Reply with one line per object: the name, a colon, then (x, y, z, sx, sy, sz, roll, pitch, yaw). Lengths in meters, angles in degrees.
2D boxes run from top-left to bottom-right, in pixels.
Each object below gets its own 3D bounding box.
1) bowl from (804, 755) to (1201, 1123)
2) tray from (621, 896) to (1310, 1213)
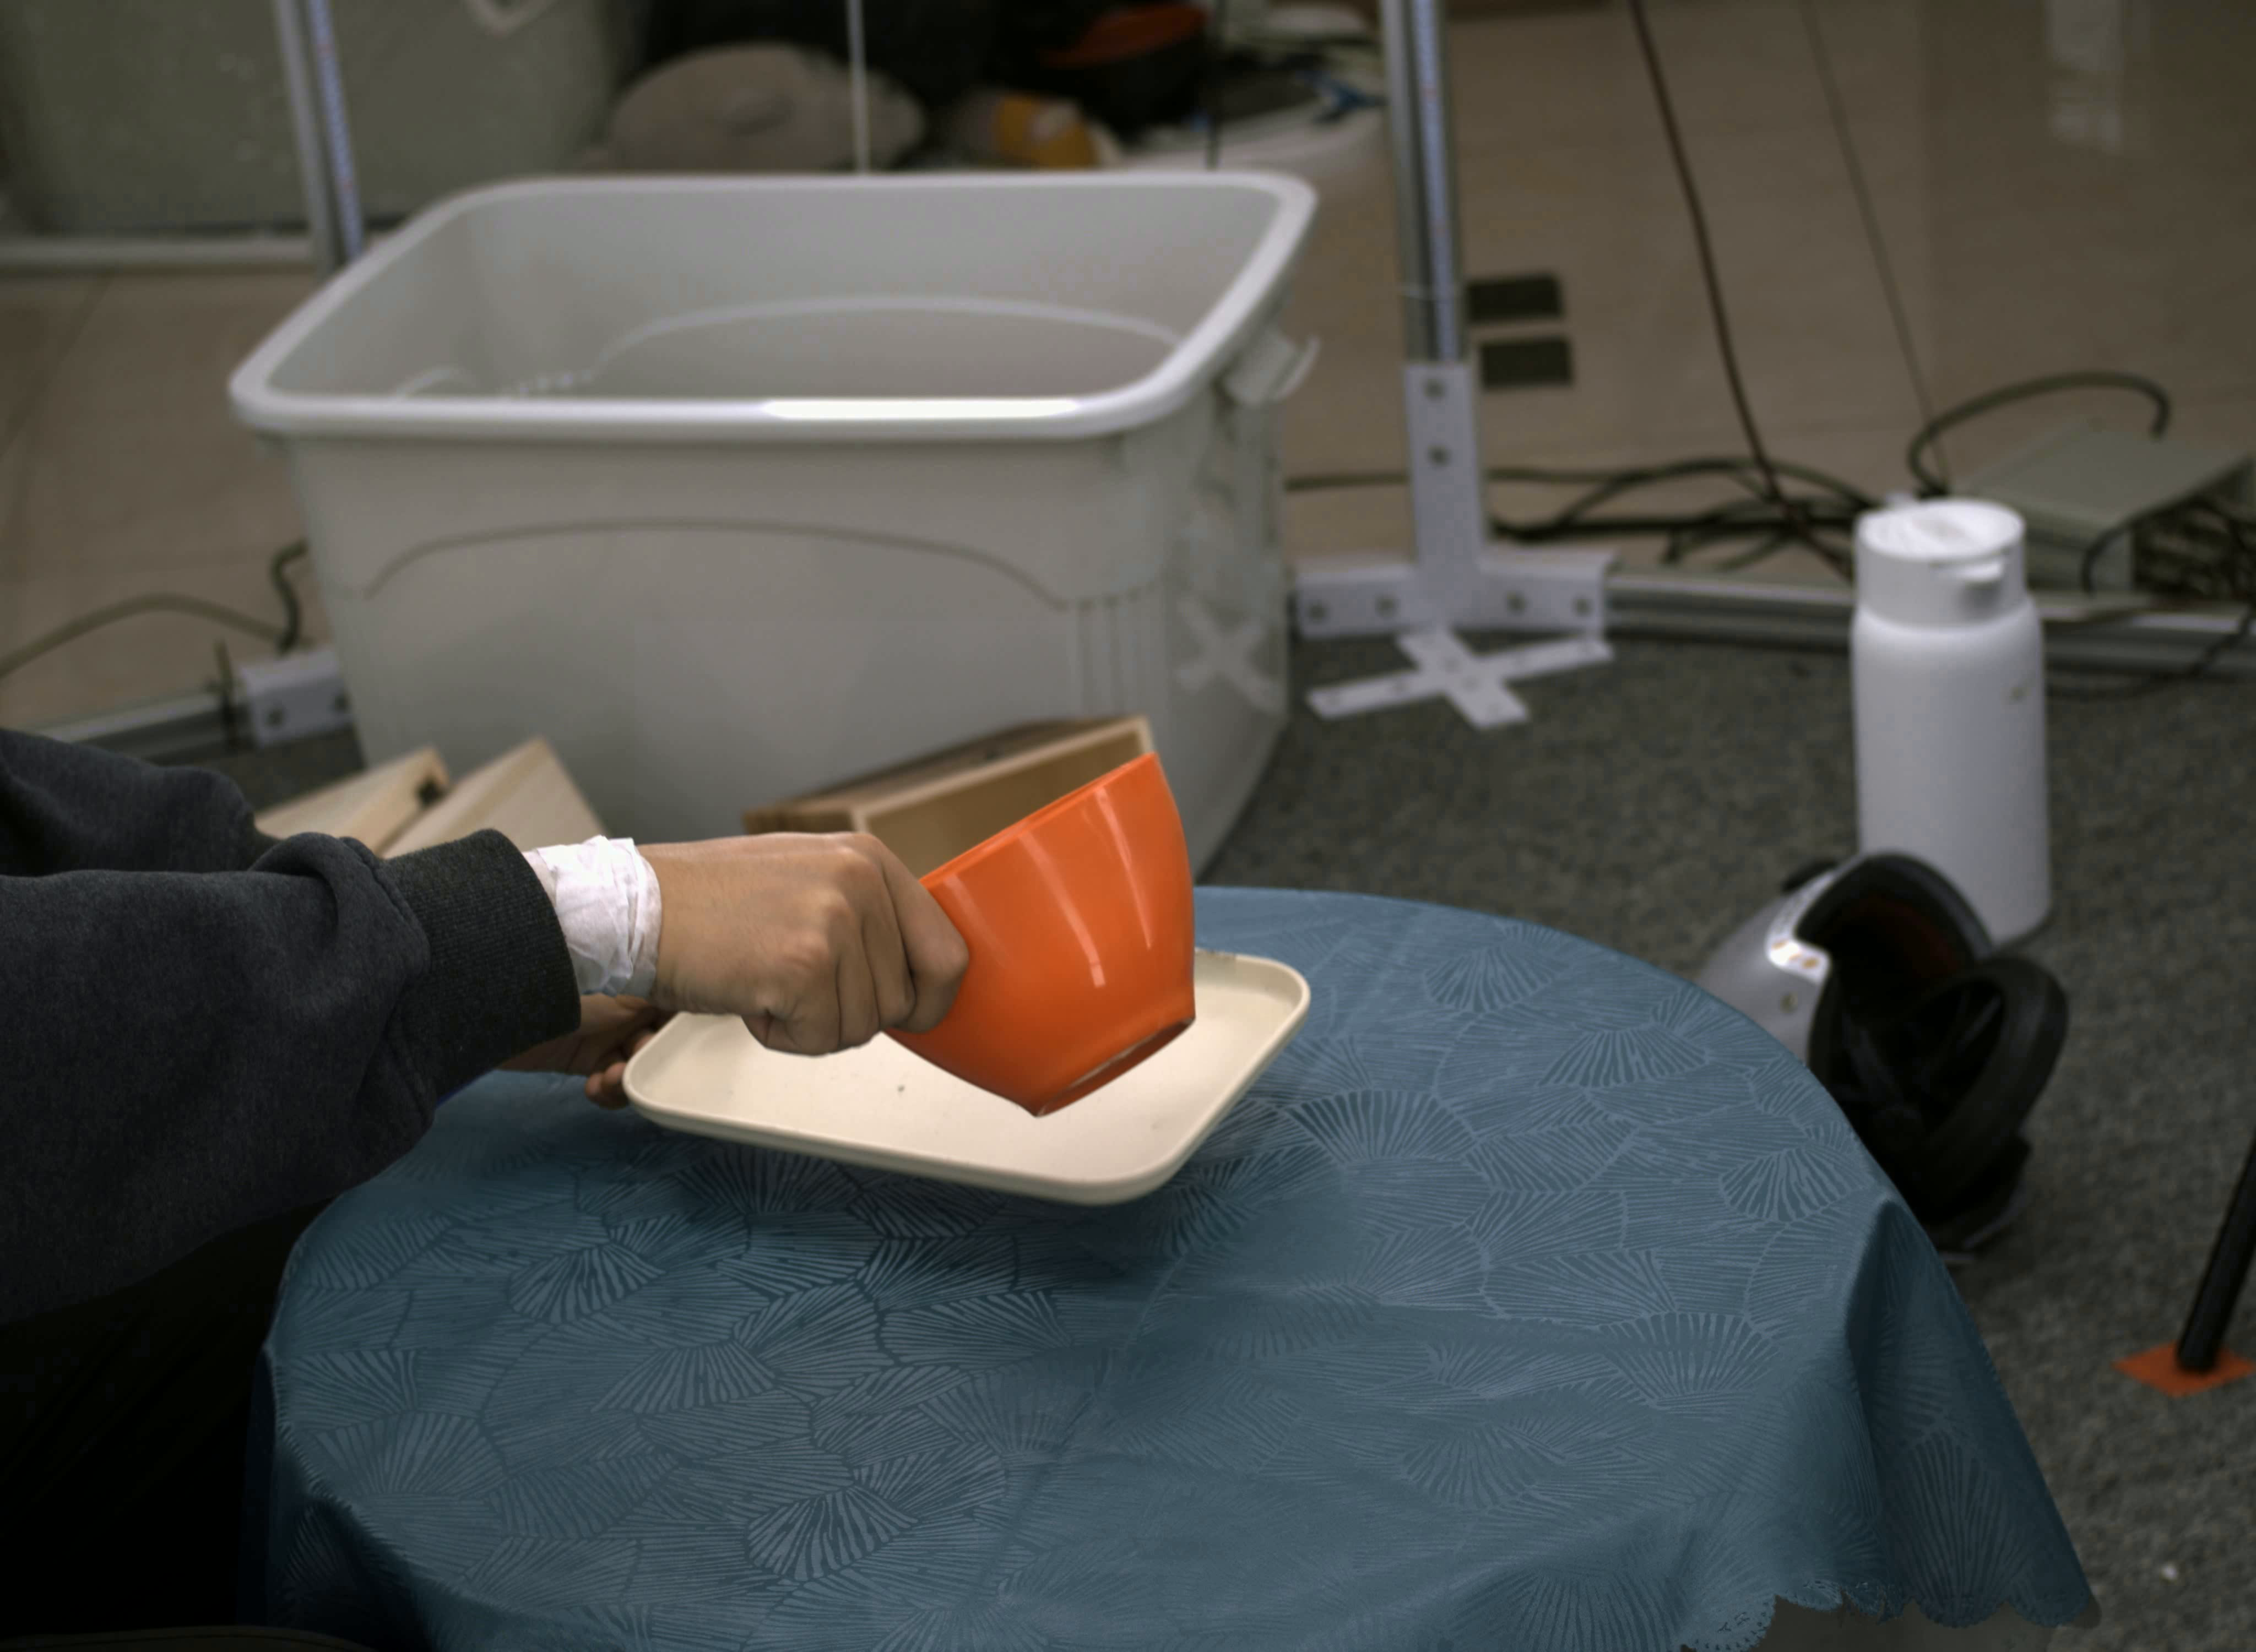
bowl: (-0.030, 0.045, 1.987, 0.148, 0.104, 0.149, -29, -8, -4)
tray: (-0.062, 0.087, 2.184, 0.238, 0.018, 0.169, 9, 34, 26)
